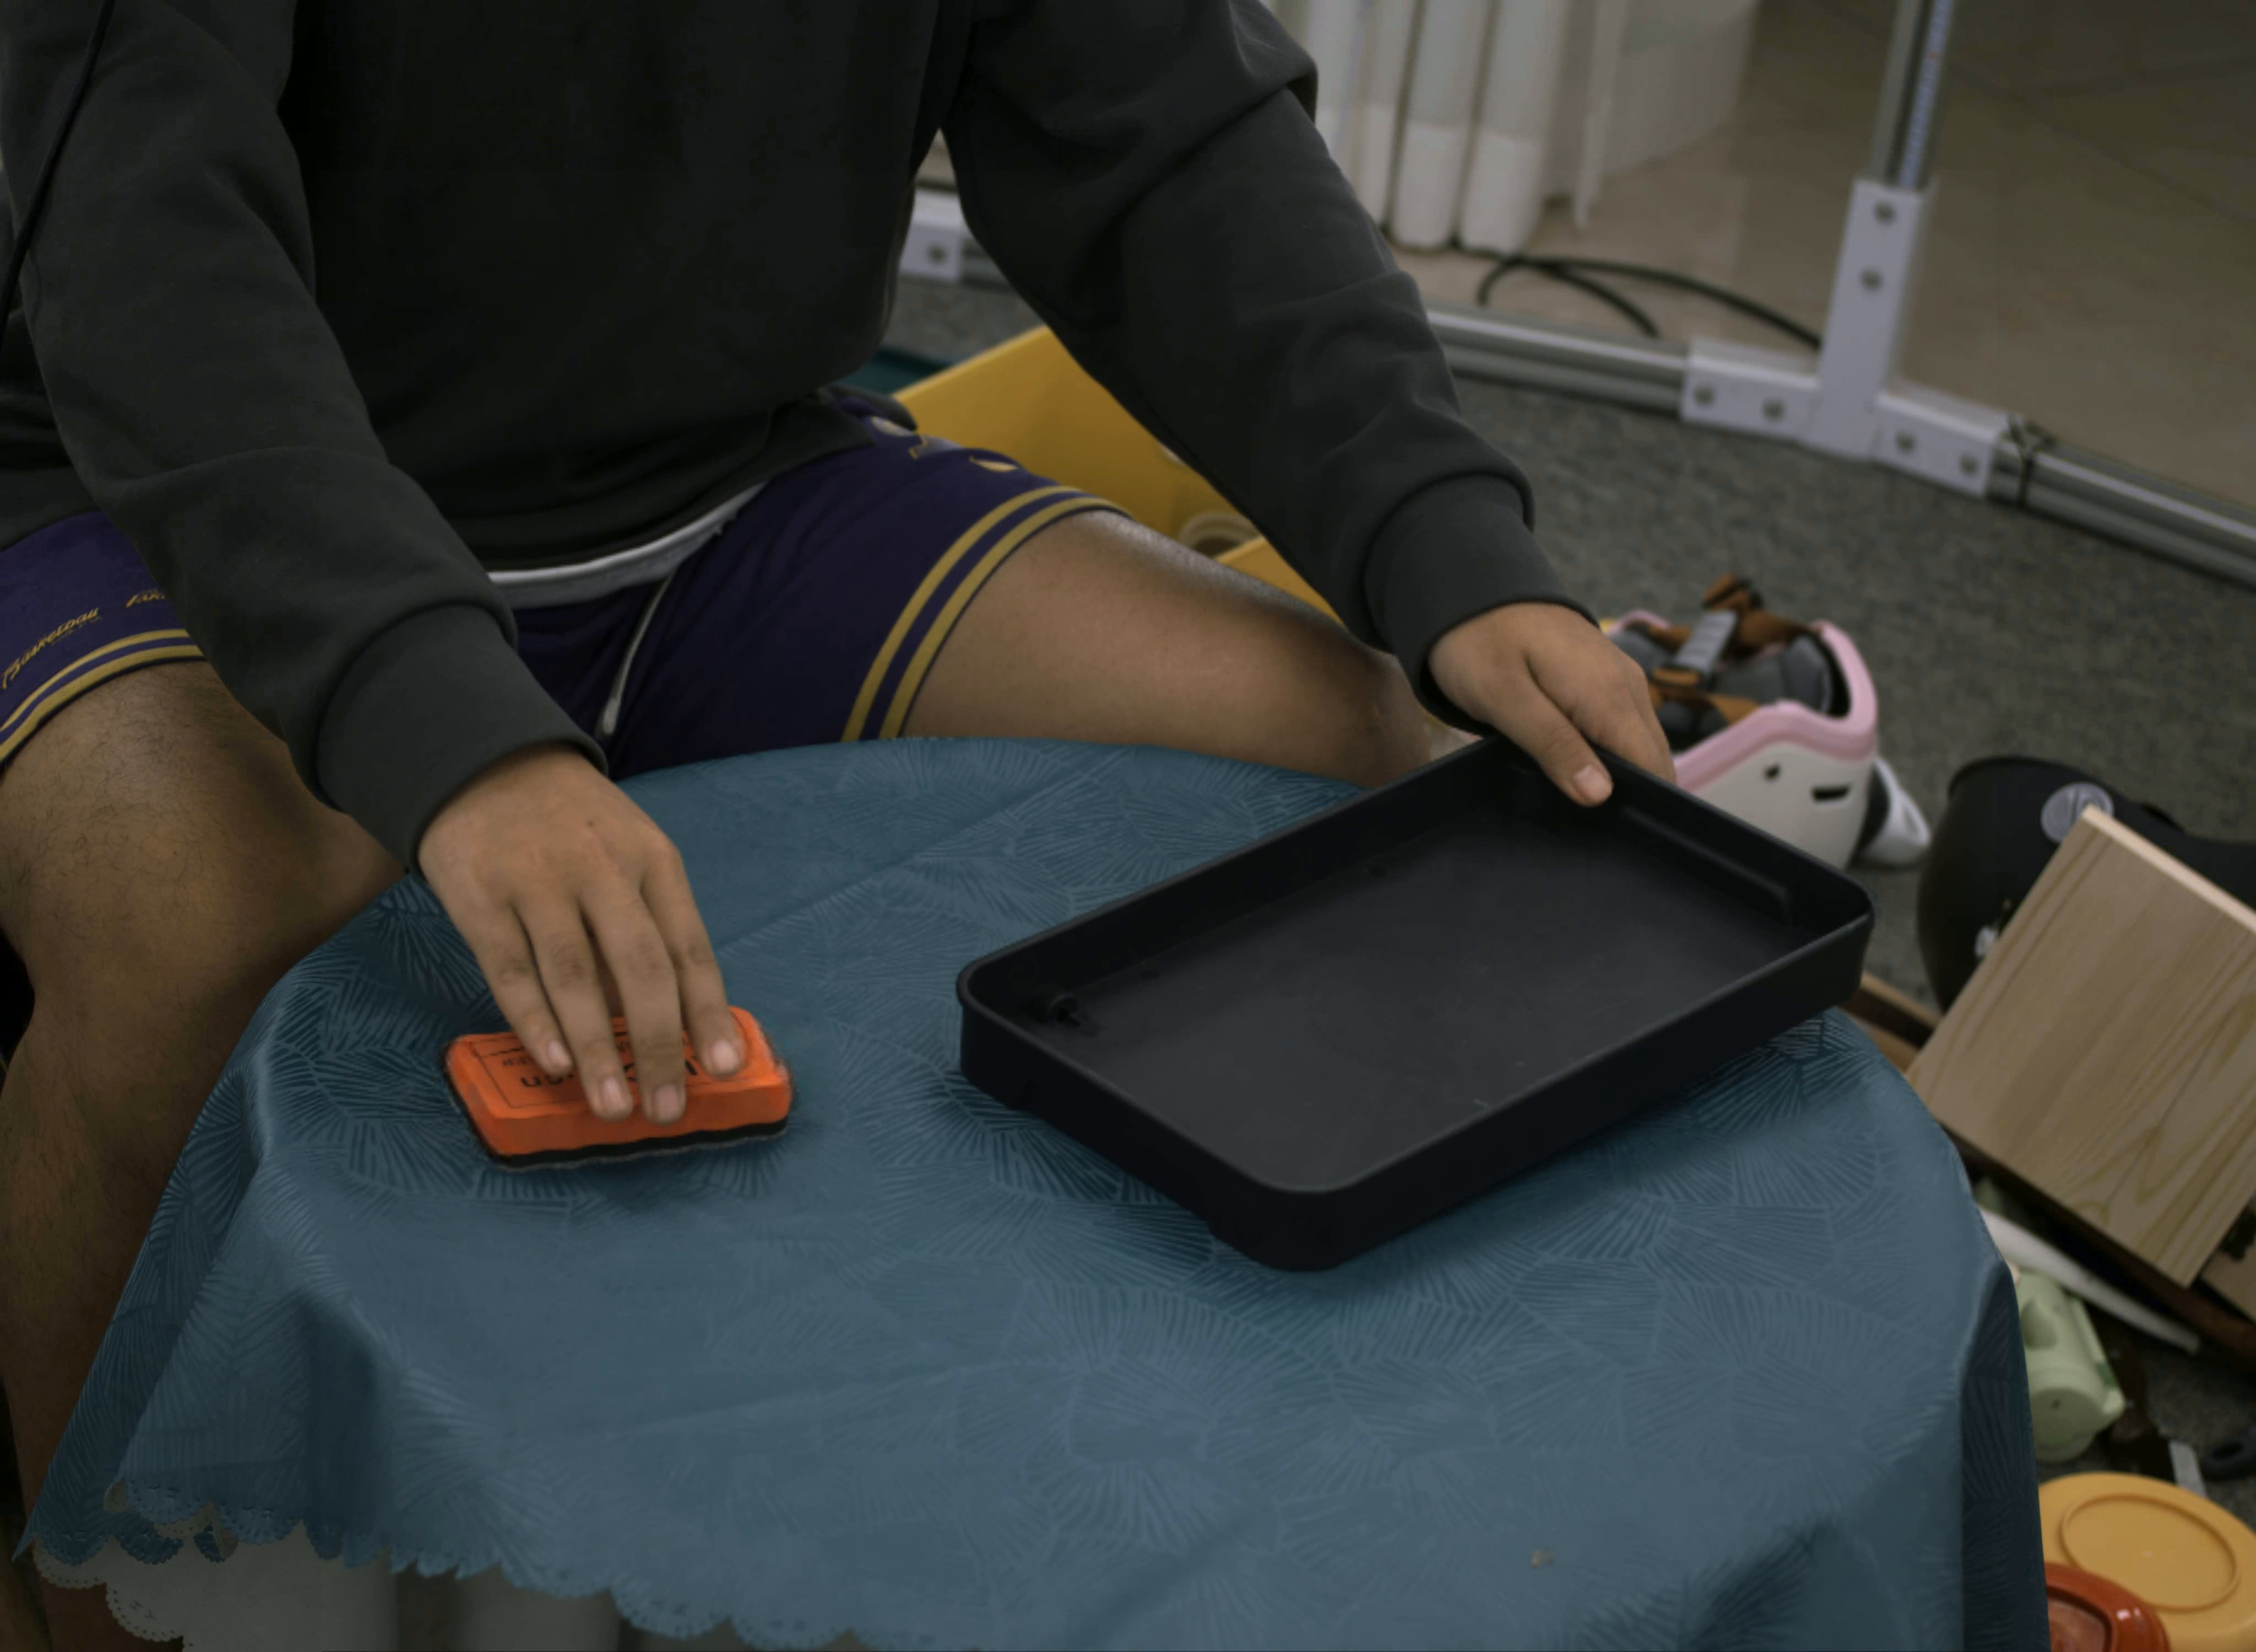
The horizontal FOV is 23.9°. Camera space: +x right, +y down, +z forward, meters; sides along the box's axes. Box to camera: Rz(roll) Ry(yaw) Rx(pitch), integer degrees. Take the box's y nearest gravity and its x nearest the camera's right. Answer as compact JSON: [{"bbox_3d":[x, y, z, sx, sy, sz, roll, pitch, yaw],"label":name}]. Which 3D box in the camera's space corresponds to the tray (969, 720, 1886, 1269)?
[{"bbox_3d":[0.110,0.054,1.903,0.185,0.037,0.316,28,38,37],"label":"tray"}]

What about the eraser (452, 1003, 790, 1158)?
[{"bbox_3d":[-0.172,0.086,1.804,0.107,0.023,0.059,-8,21,-23],"label":"eraser"}]
